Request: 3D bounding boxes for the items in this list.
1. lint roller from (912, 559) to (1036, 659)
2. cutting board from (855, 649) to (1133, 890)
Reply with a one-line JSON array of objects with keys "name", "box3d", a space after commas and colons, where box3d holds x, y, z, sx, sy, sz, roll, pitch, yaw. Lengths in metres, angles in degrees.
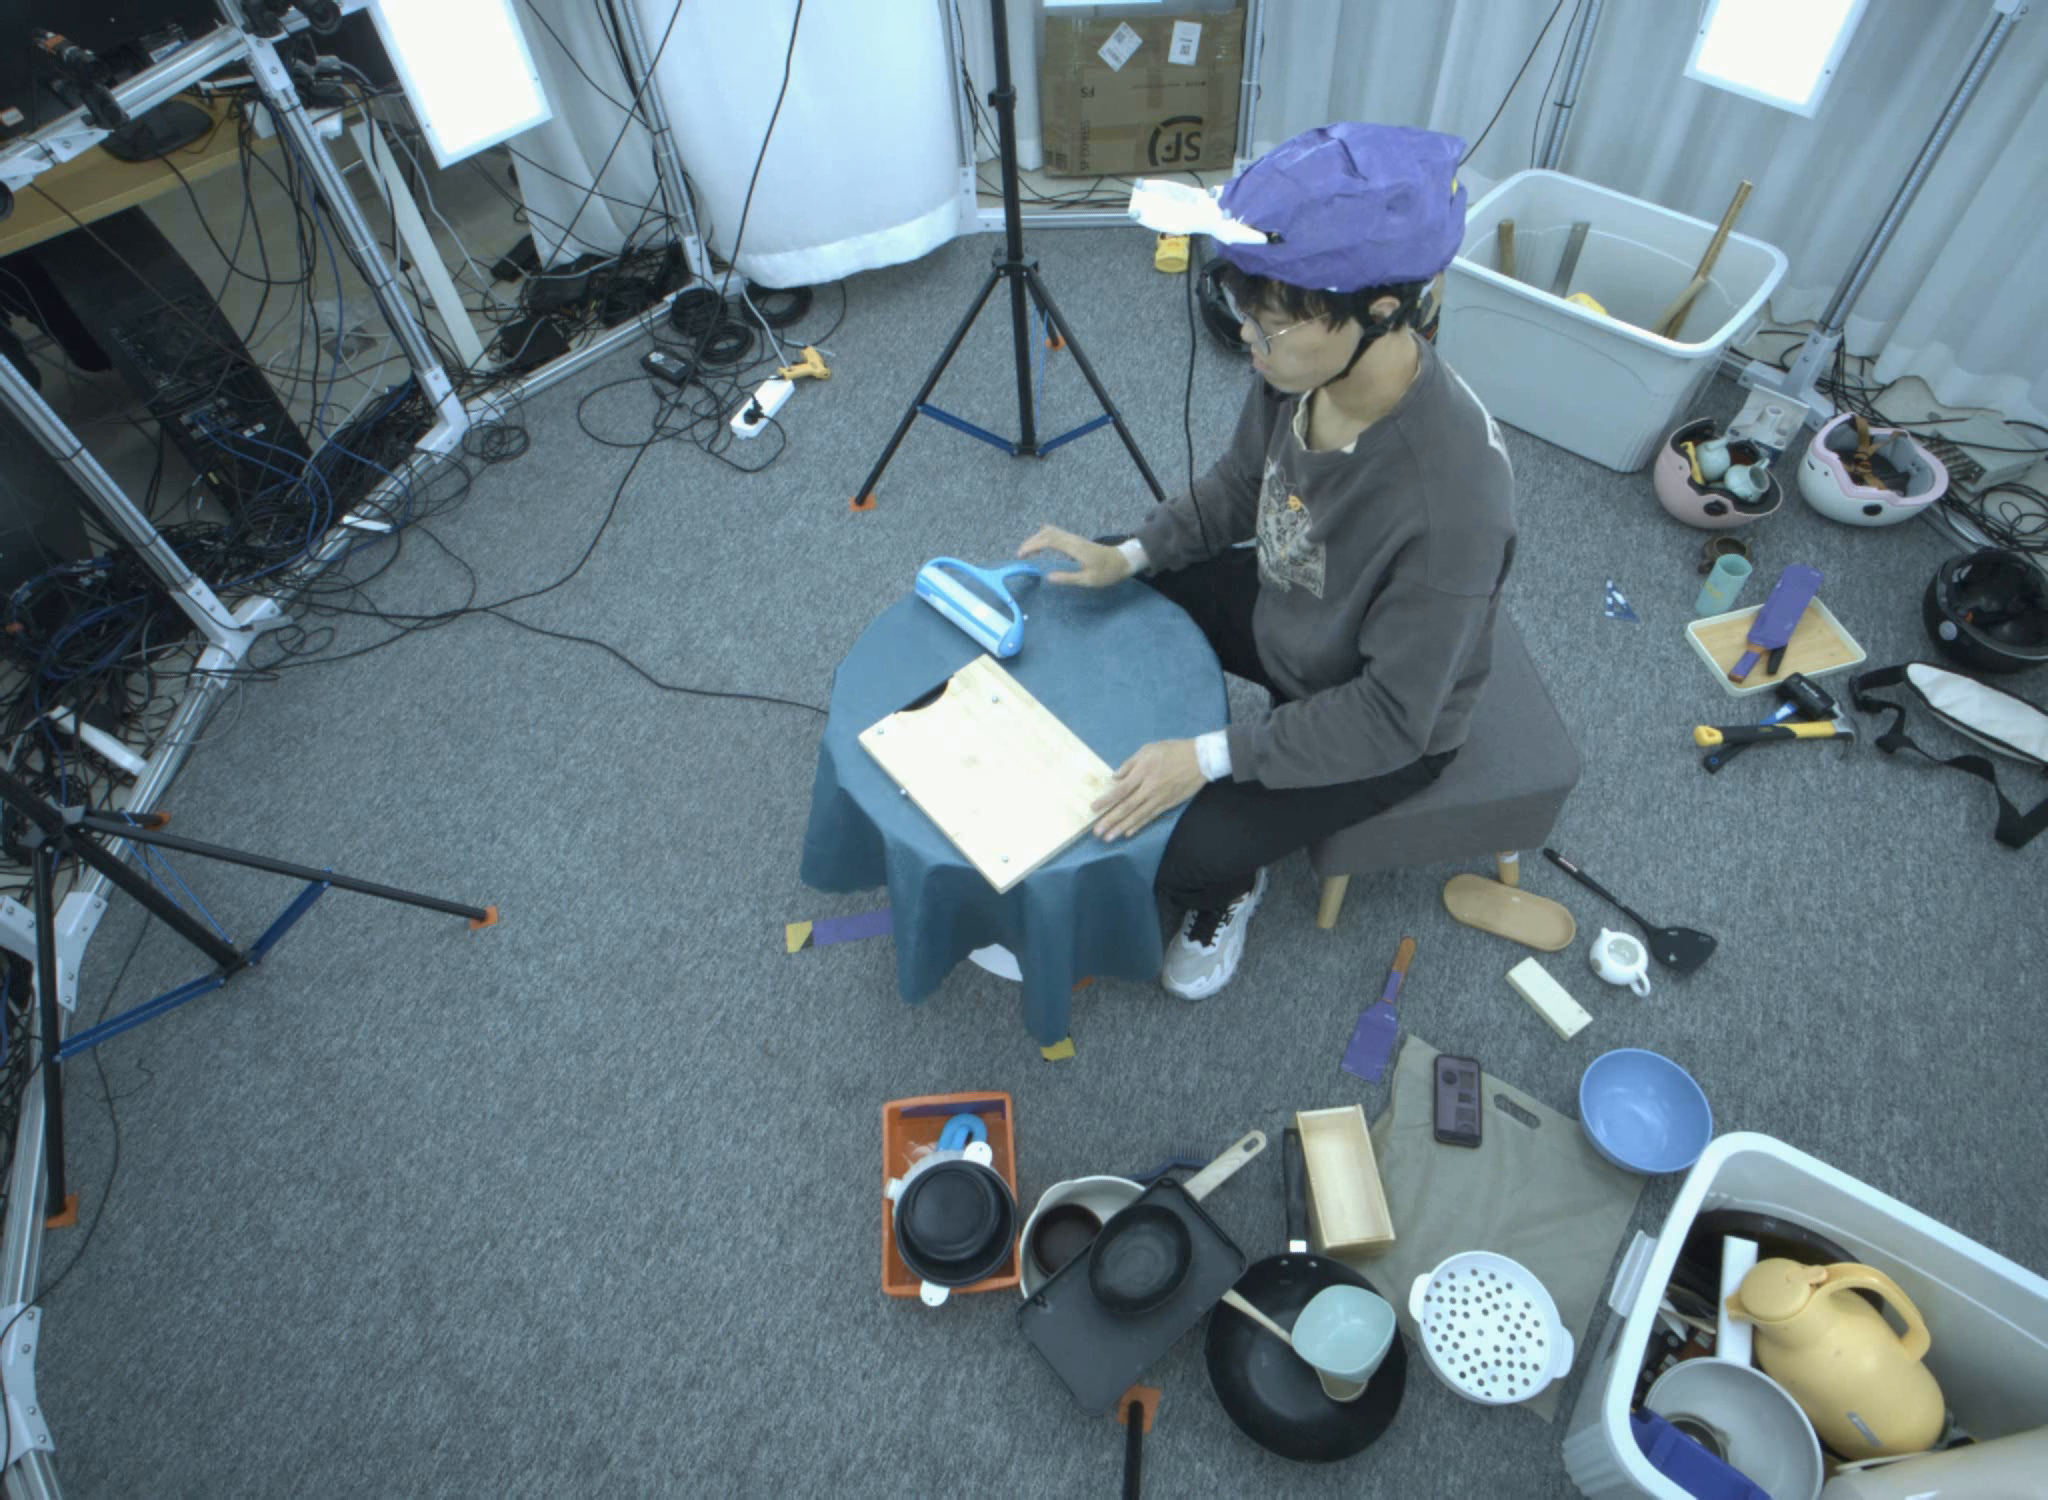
[{"name": "lint roller", "box3d": [-0.052, -0.251, 1.932, 0.225, 0.068, 0.181, 35, 63, 25]}, {"name": "cutting board", "box3d": [-0.048, 0.019, 1.763, 0.253, 0.024, 0.342, -35, 60, -22]}]
